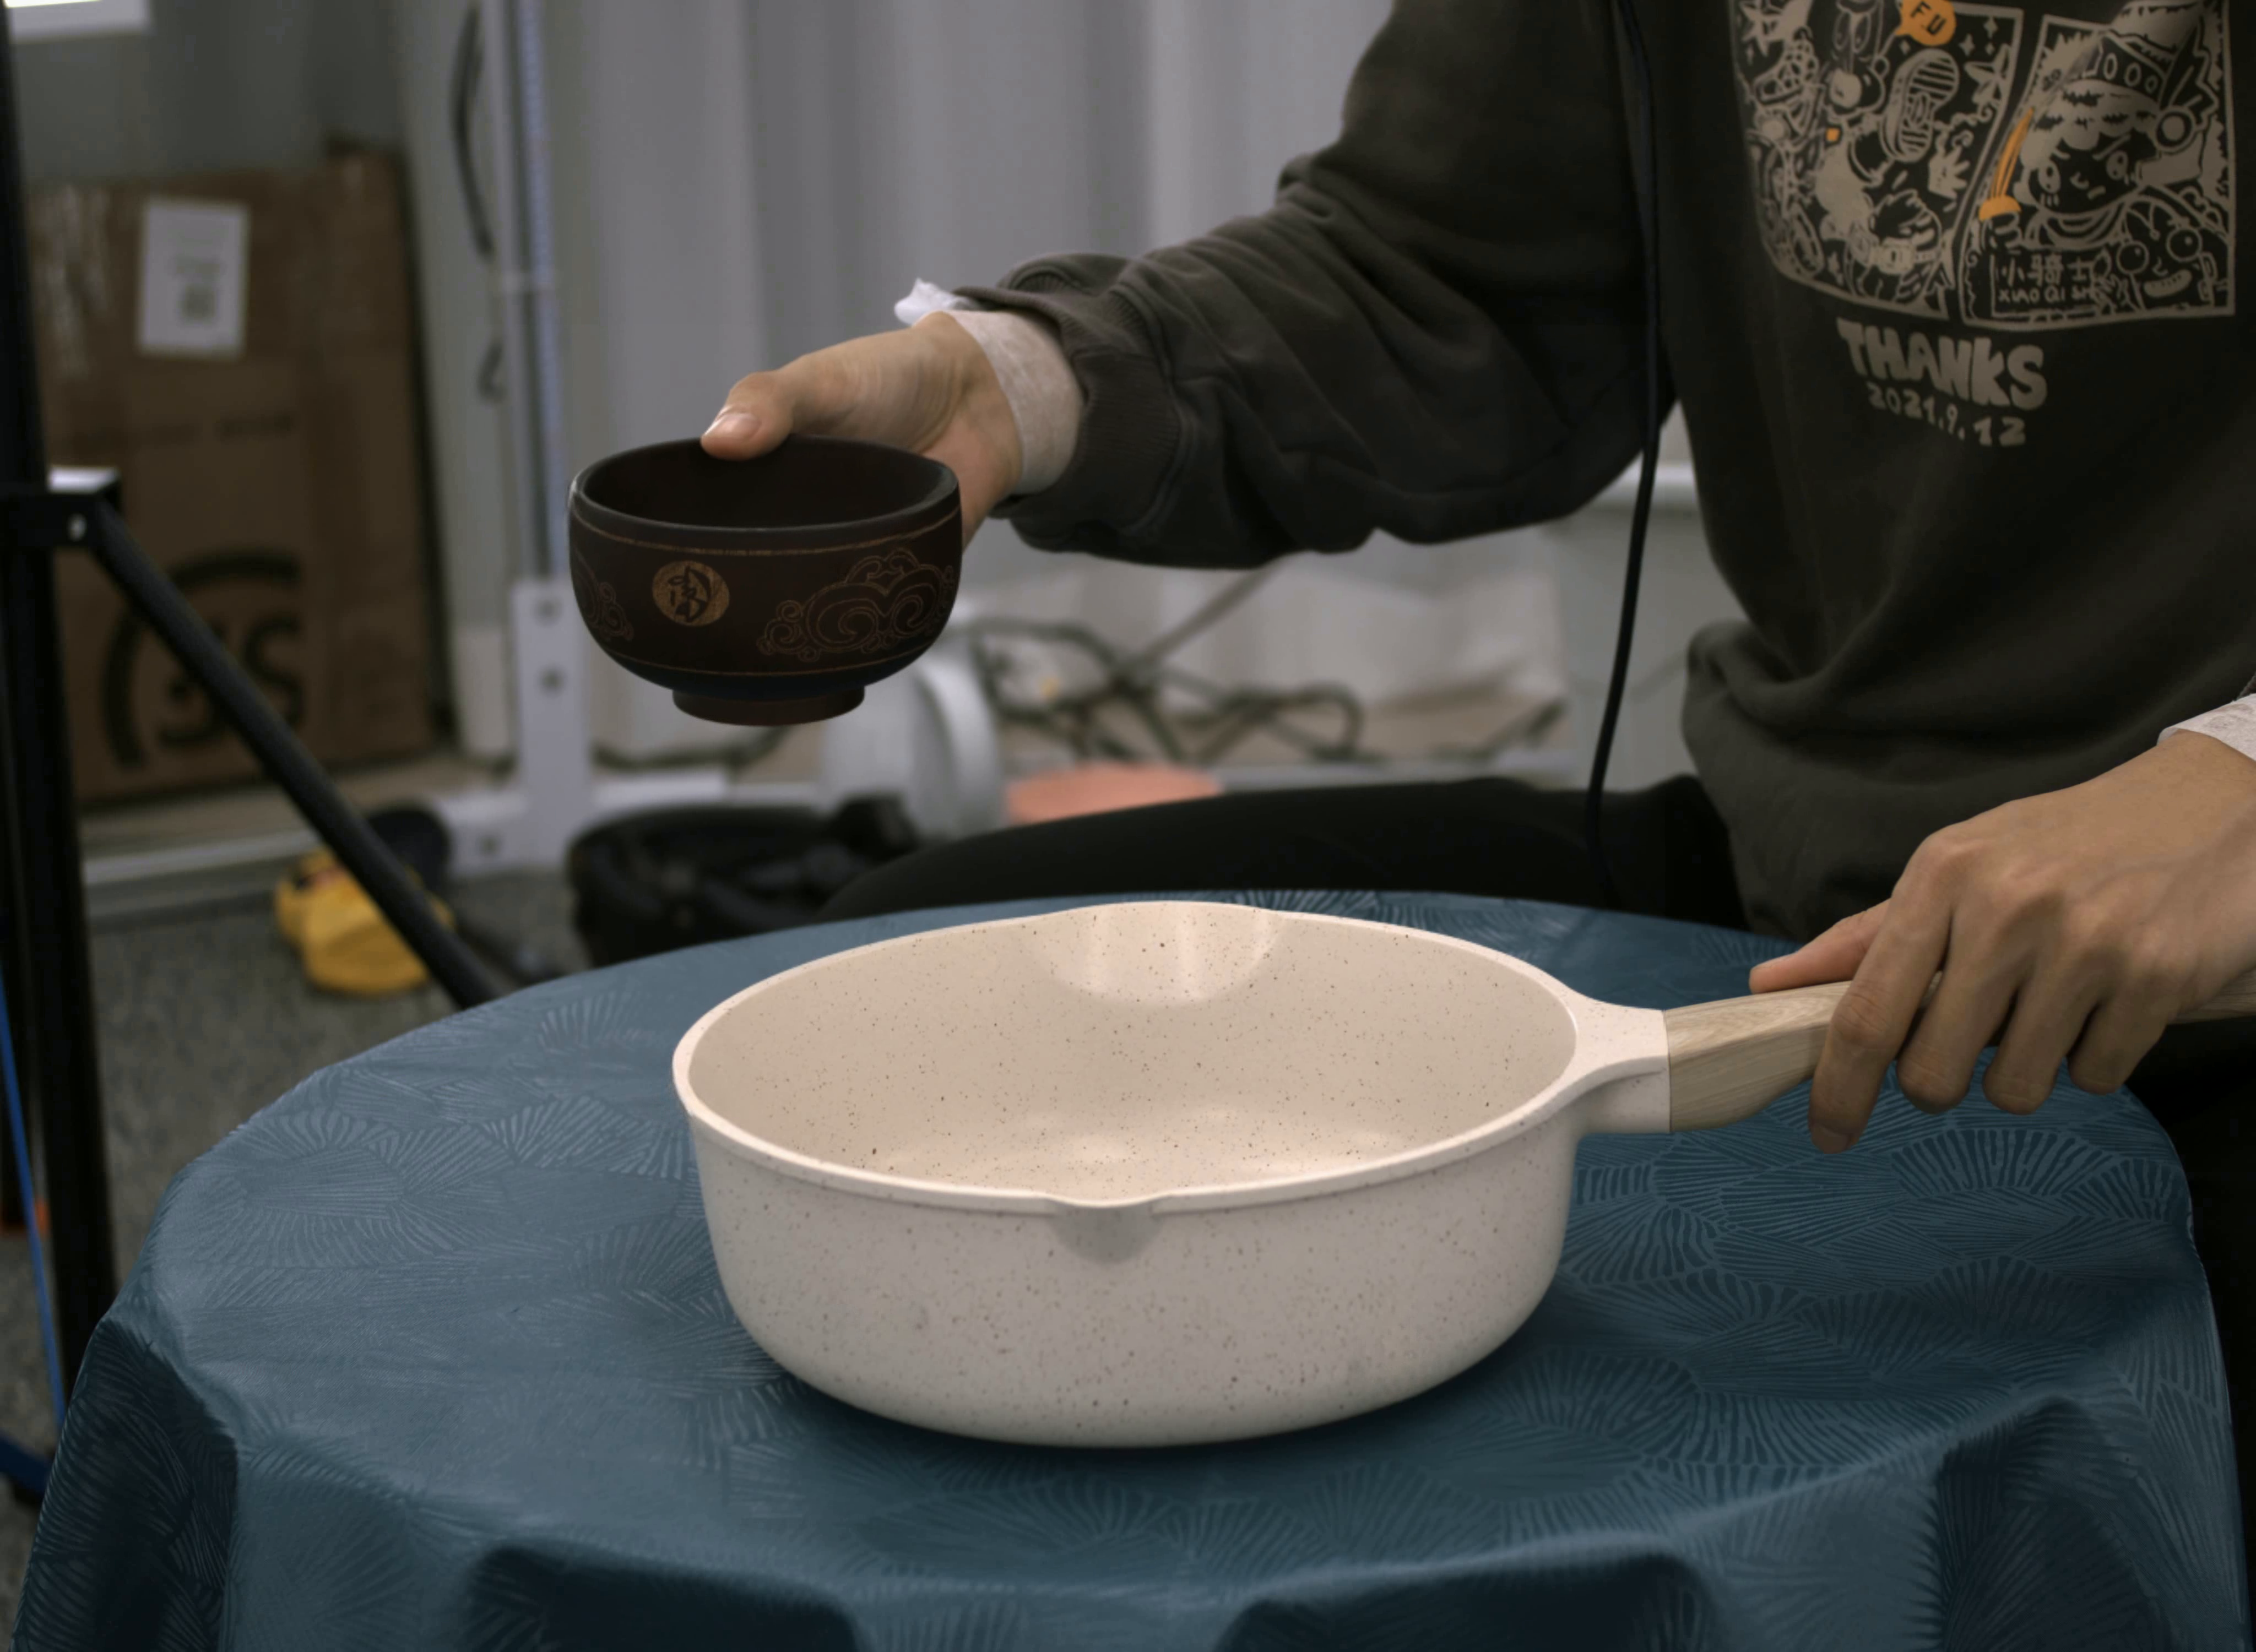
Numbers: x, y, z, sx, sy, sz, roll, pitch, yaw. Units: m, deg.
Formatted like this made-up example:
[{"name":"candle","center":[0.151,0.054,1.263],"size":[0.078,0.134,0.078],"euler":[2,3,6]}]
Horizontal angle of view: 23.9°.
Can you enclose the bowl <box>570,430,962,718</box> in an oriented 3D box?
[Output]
[{"name":"bowl","center":[-0.108,-0.073,1.602],"size":[0.117,0.070,0.118],"euler":[-1,16,-1]}]

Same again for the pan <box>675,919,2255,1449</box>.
[{"name":"pan","center":[0.095,0.089,1.433],"size":[0.434,0.102,0.263],"euler":[-1,14,5]}]
